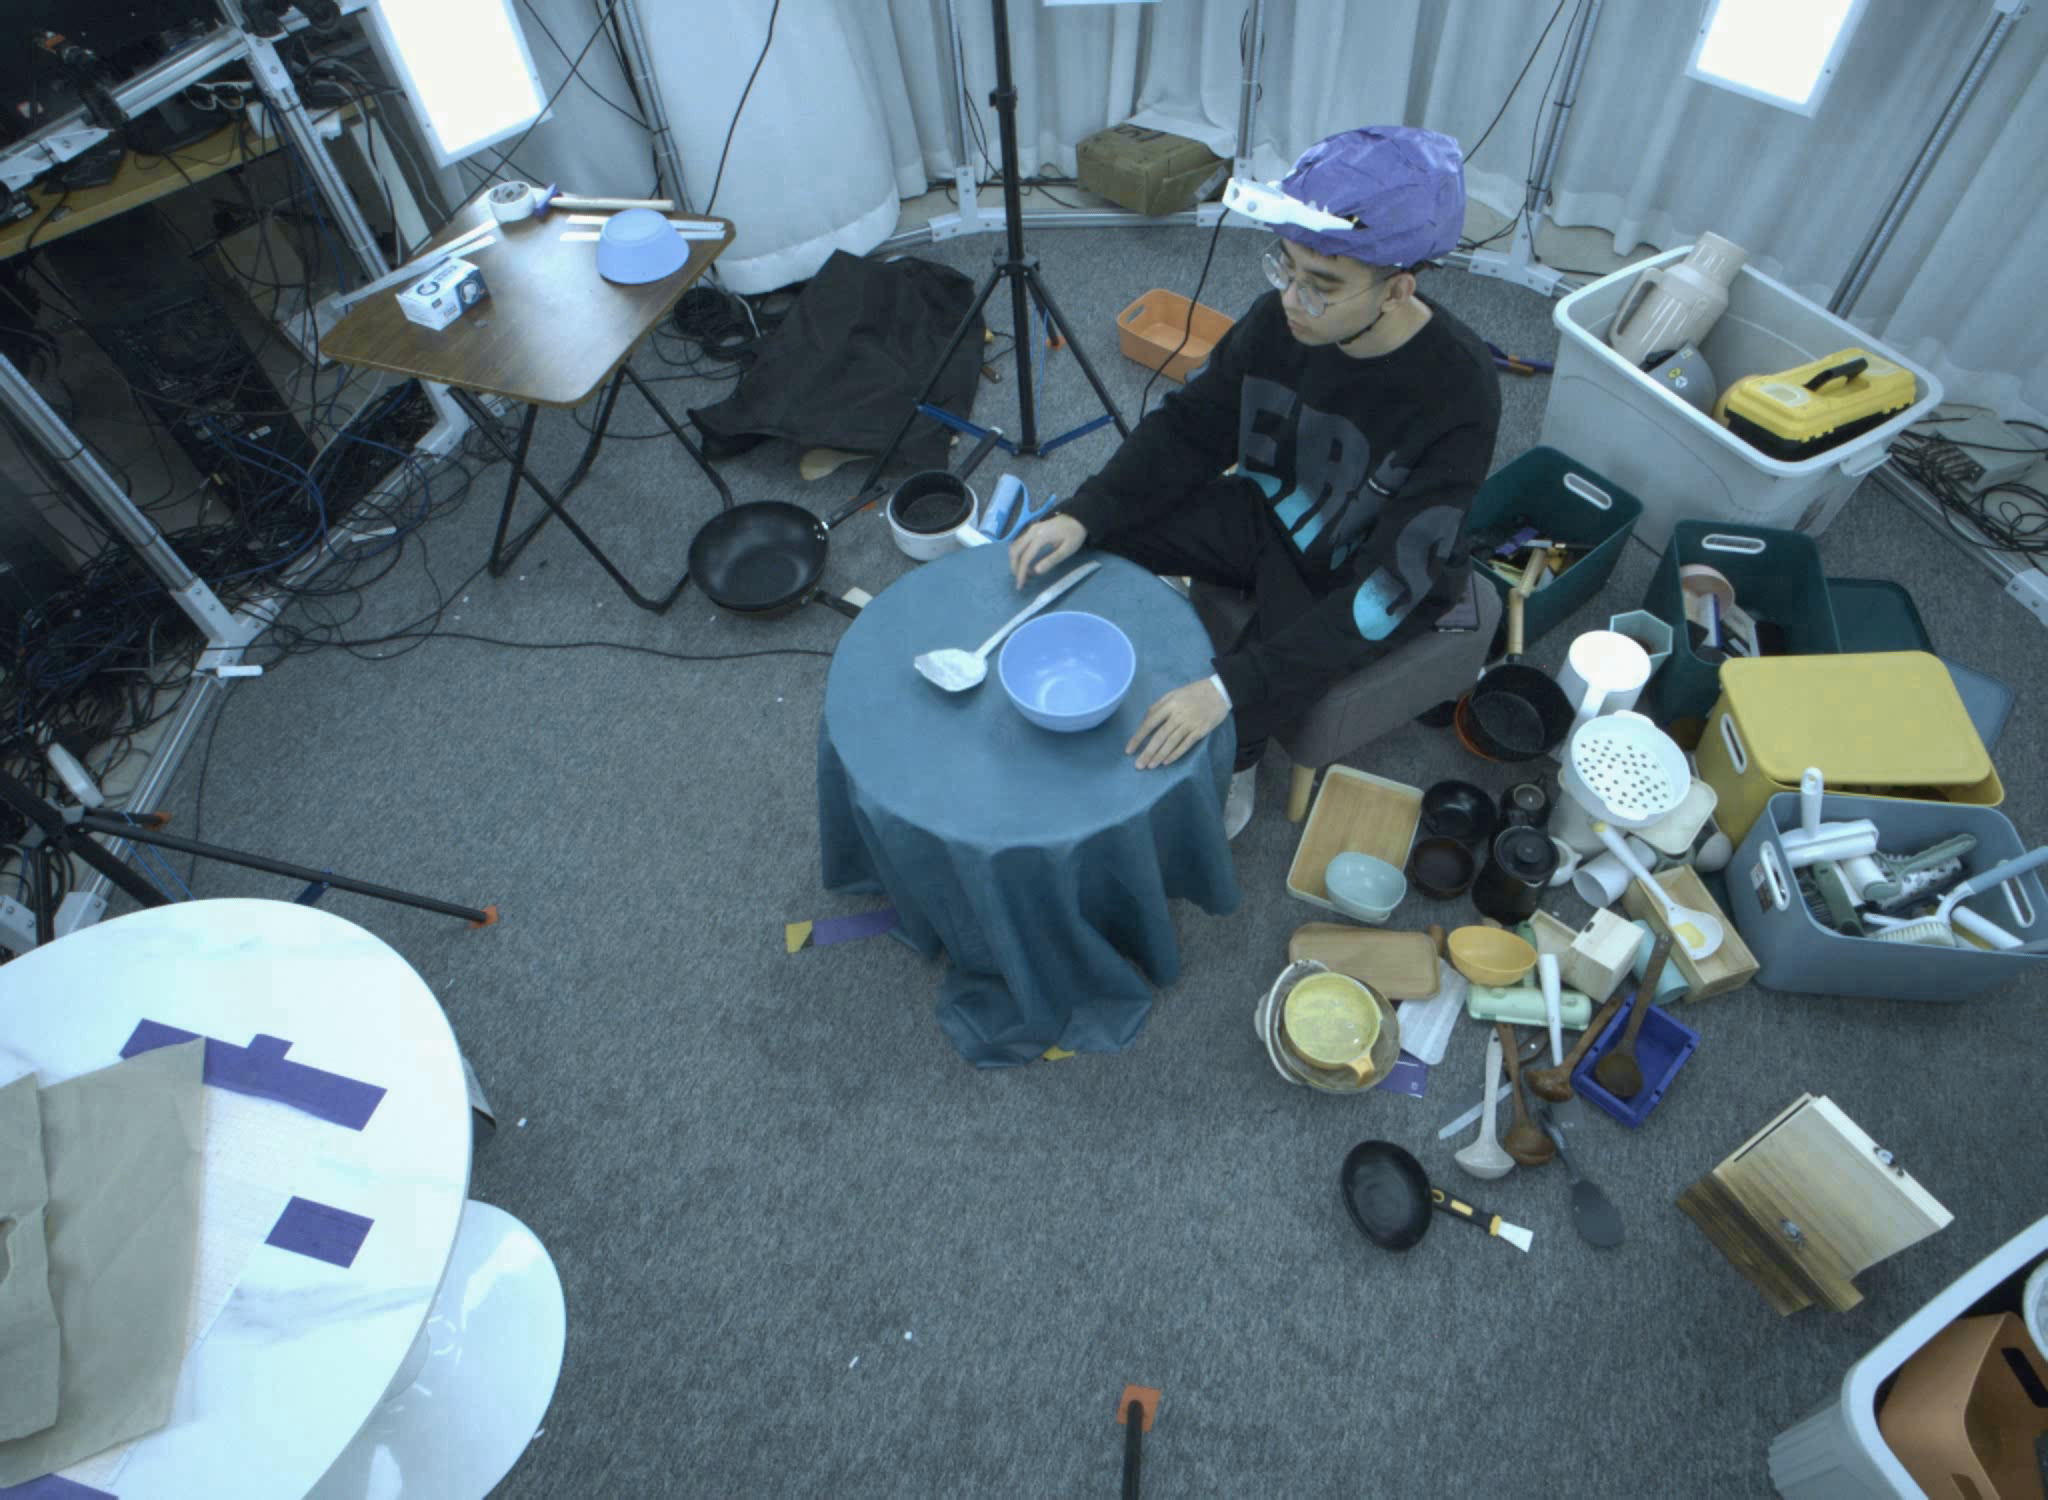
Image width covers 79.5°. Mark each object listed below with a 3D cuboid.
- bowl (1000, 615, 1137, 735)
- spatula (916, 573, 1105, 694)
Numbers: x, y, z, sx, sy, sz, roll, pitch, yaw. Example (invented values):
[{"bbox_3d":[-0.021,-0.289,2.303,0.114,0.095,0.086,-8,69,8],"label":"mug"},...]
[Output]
[{"bbox_3d":[0.067,-0.095,1.804,0.196,0.096,0.194,-1,55,3],"label":"bowl"},{"bbox_3d":[-0.008,-0.196,1.912,0.367,0.045,0.097,-39,60,-23],"label":"spatula"}]
